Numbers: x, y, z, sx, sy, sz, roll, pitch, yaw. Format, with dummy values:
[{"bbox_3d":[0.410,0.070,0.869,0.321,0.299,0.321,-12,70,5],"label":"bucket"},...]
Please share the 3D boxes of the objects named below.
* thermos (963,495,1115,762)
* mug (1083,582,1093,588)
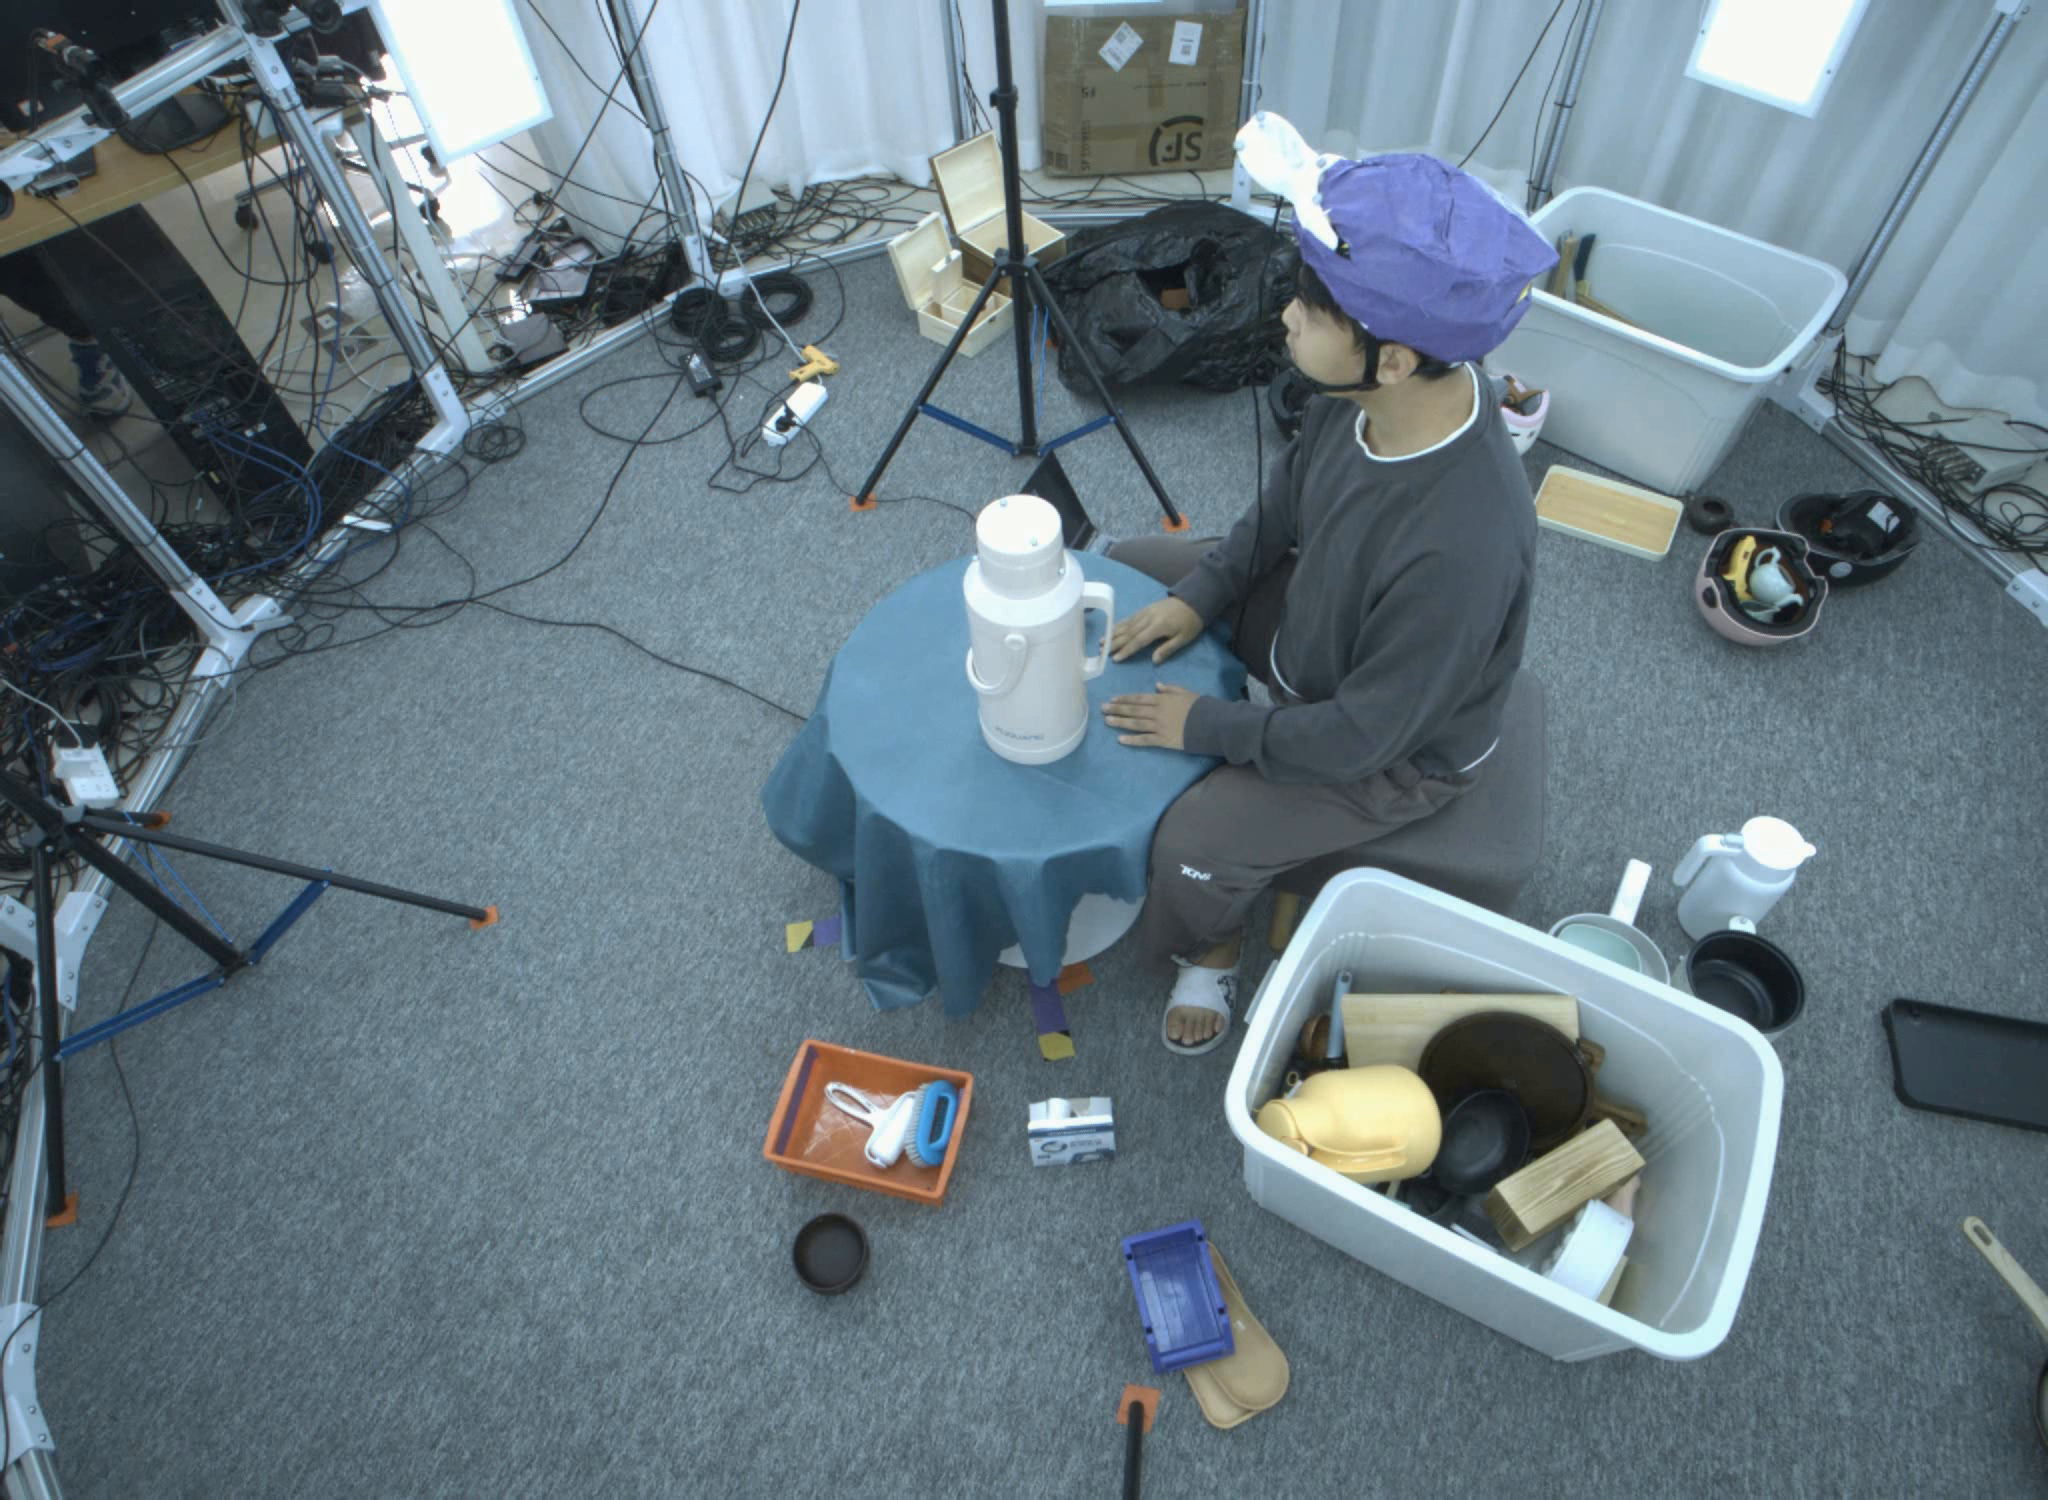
[{"bbox_3d":[0.018,-0.158,1.655,0.206,0.411,0.174,3,55,6],"label":"thermos"},{"bbox_3d":[0.051,-0.242,1.901,0.122,0.091,0.093,11,56,10],"label":"mug"}]
